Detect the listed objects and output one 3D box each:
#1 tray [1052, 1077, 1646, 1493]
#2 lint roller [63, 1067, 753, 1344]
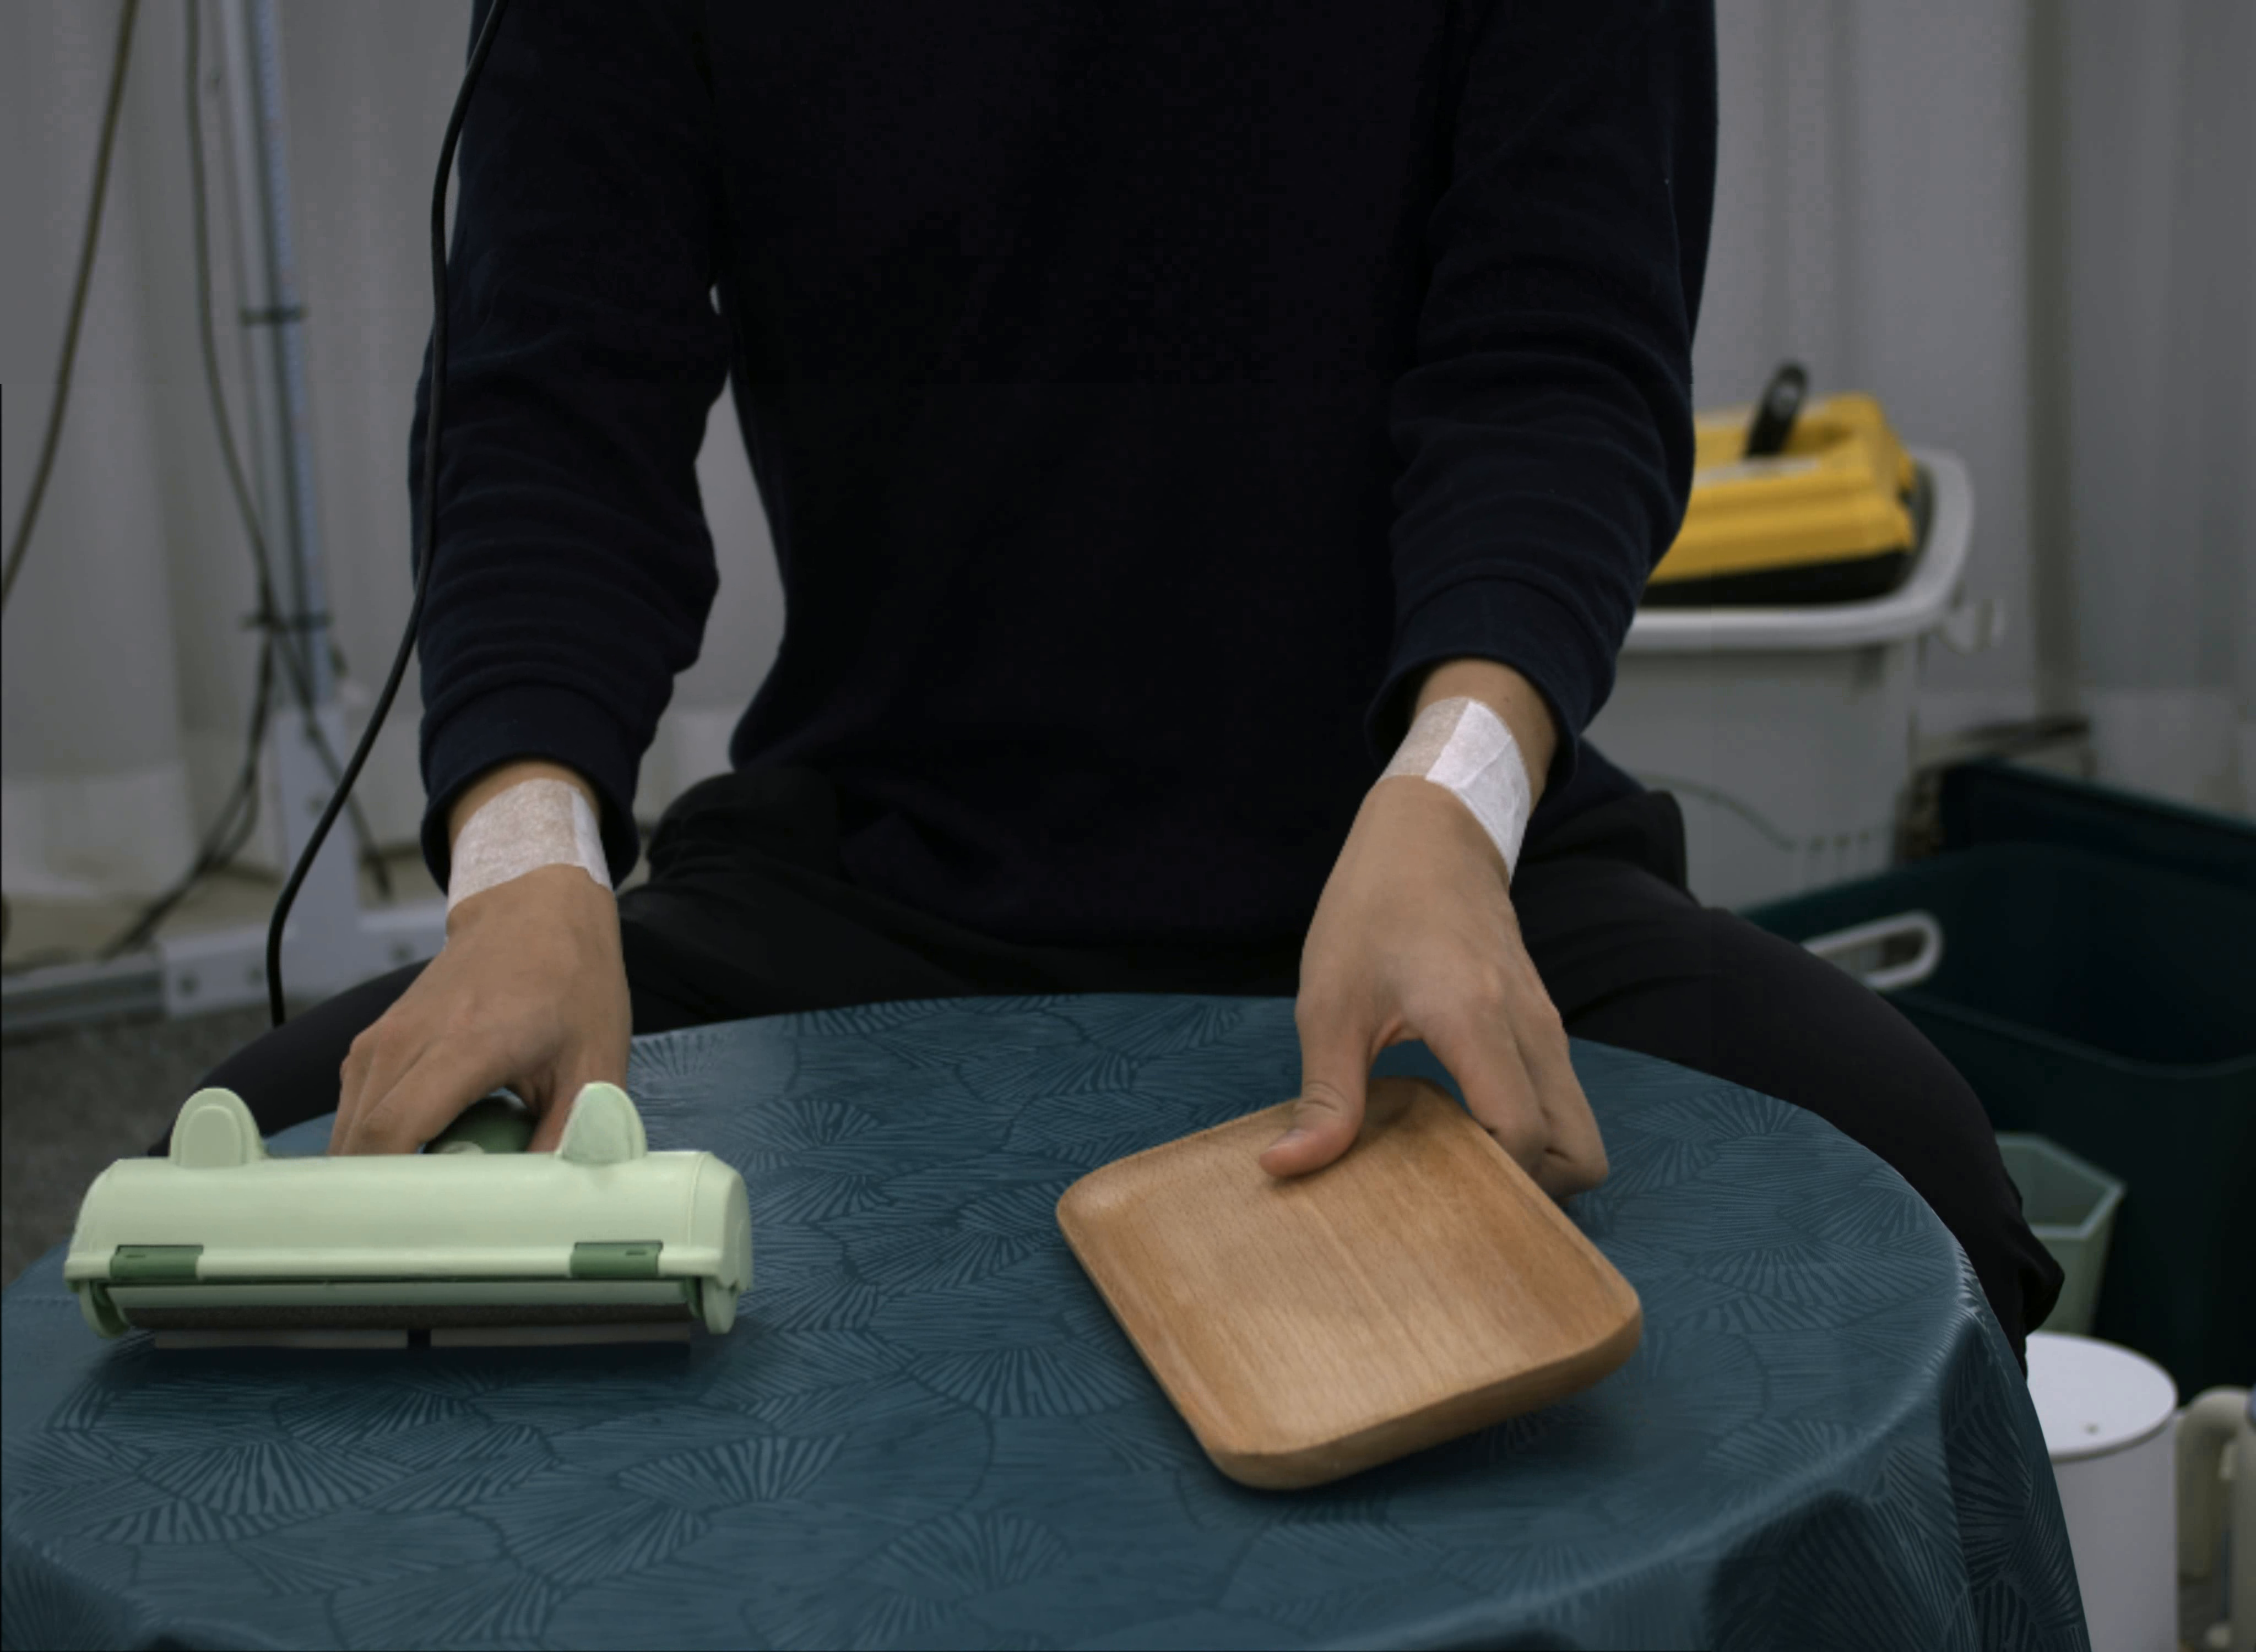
[{"bbox_3d":[0.060,0.129,1.575,0.130,0.023,0.252,-15,16,-8],"label":"tray"},{"bbox_3d":[-0.205,0.094,1.656,0.198,0.081,0.185,-1,23,6],"label":"lint roller"}]
